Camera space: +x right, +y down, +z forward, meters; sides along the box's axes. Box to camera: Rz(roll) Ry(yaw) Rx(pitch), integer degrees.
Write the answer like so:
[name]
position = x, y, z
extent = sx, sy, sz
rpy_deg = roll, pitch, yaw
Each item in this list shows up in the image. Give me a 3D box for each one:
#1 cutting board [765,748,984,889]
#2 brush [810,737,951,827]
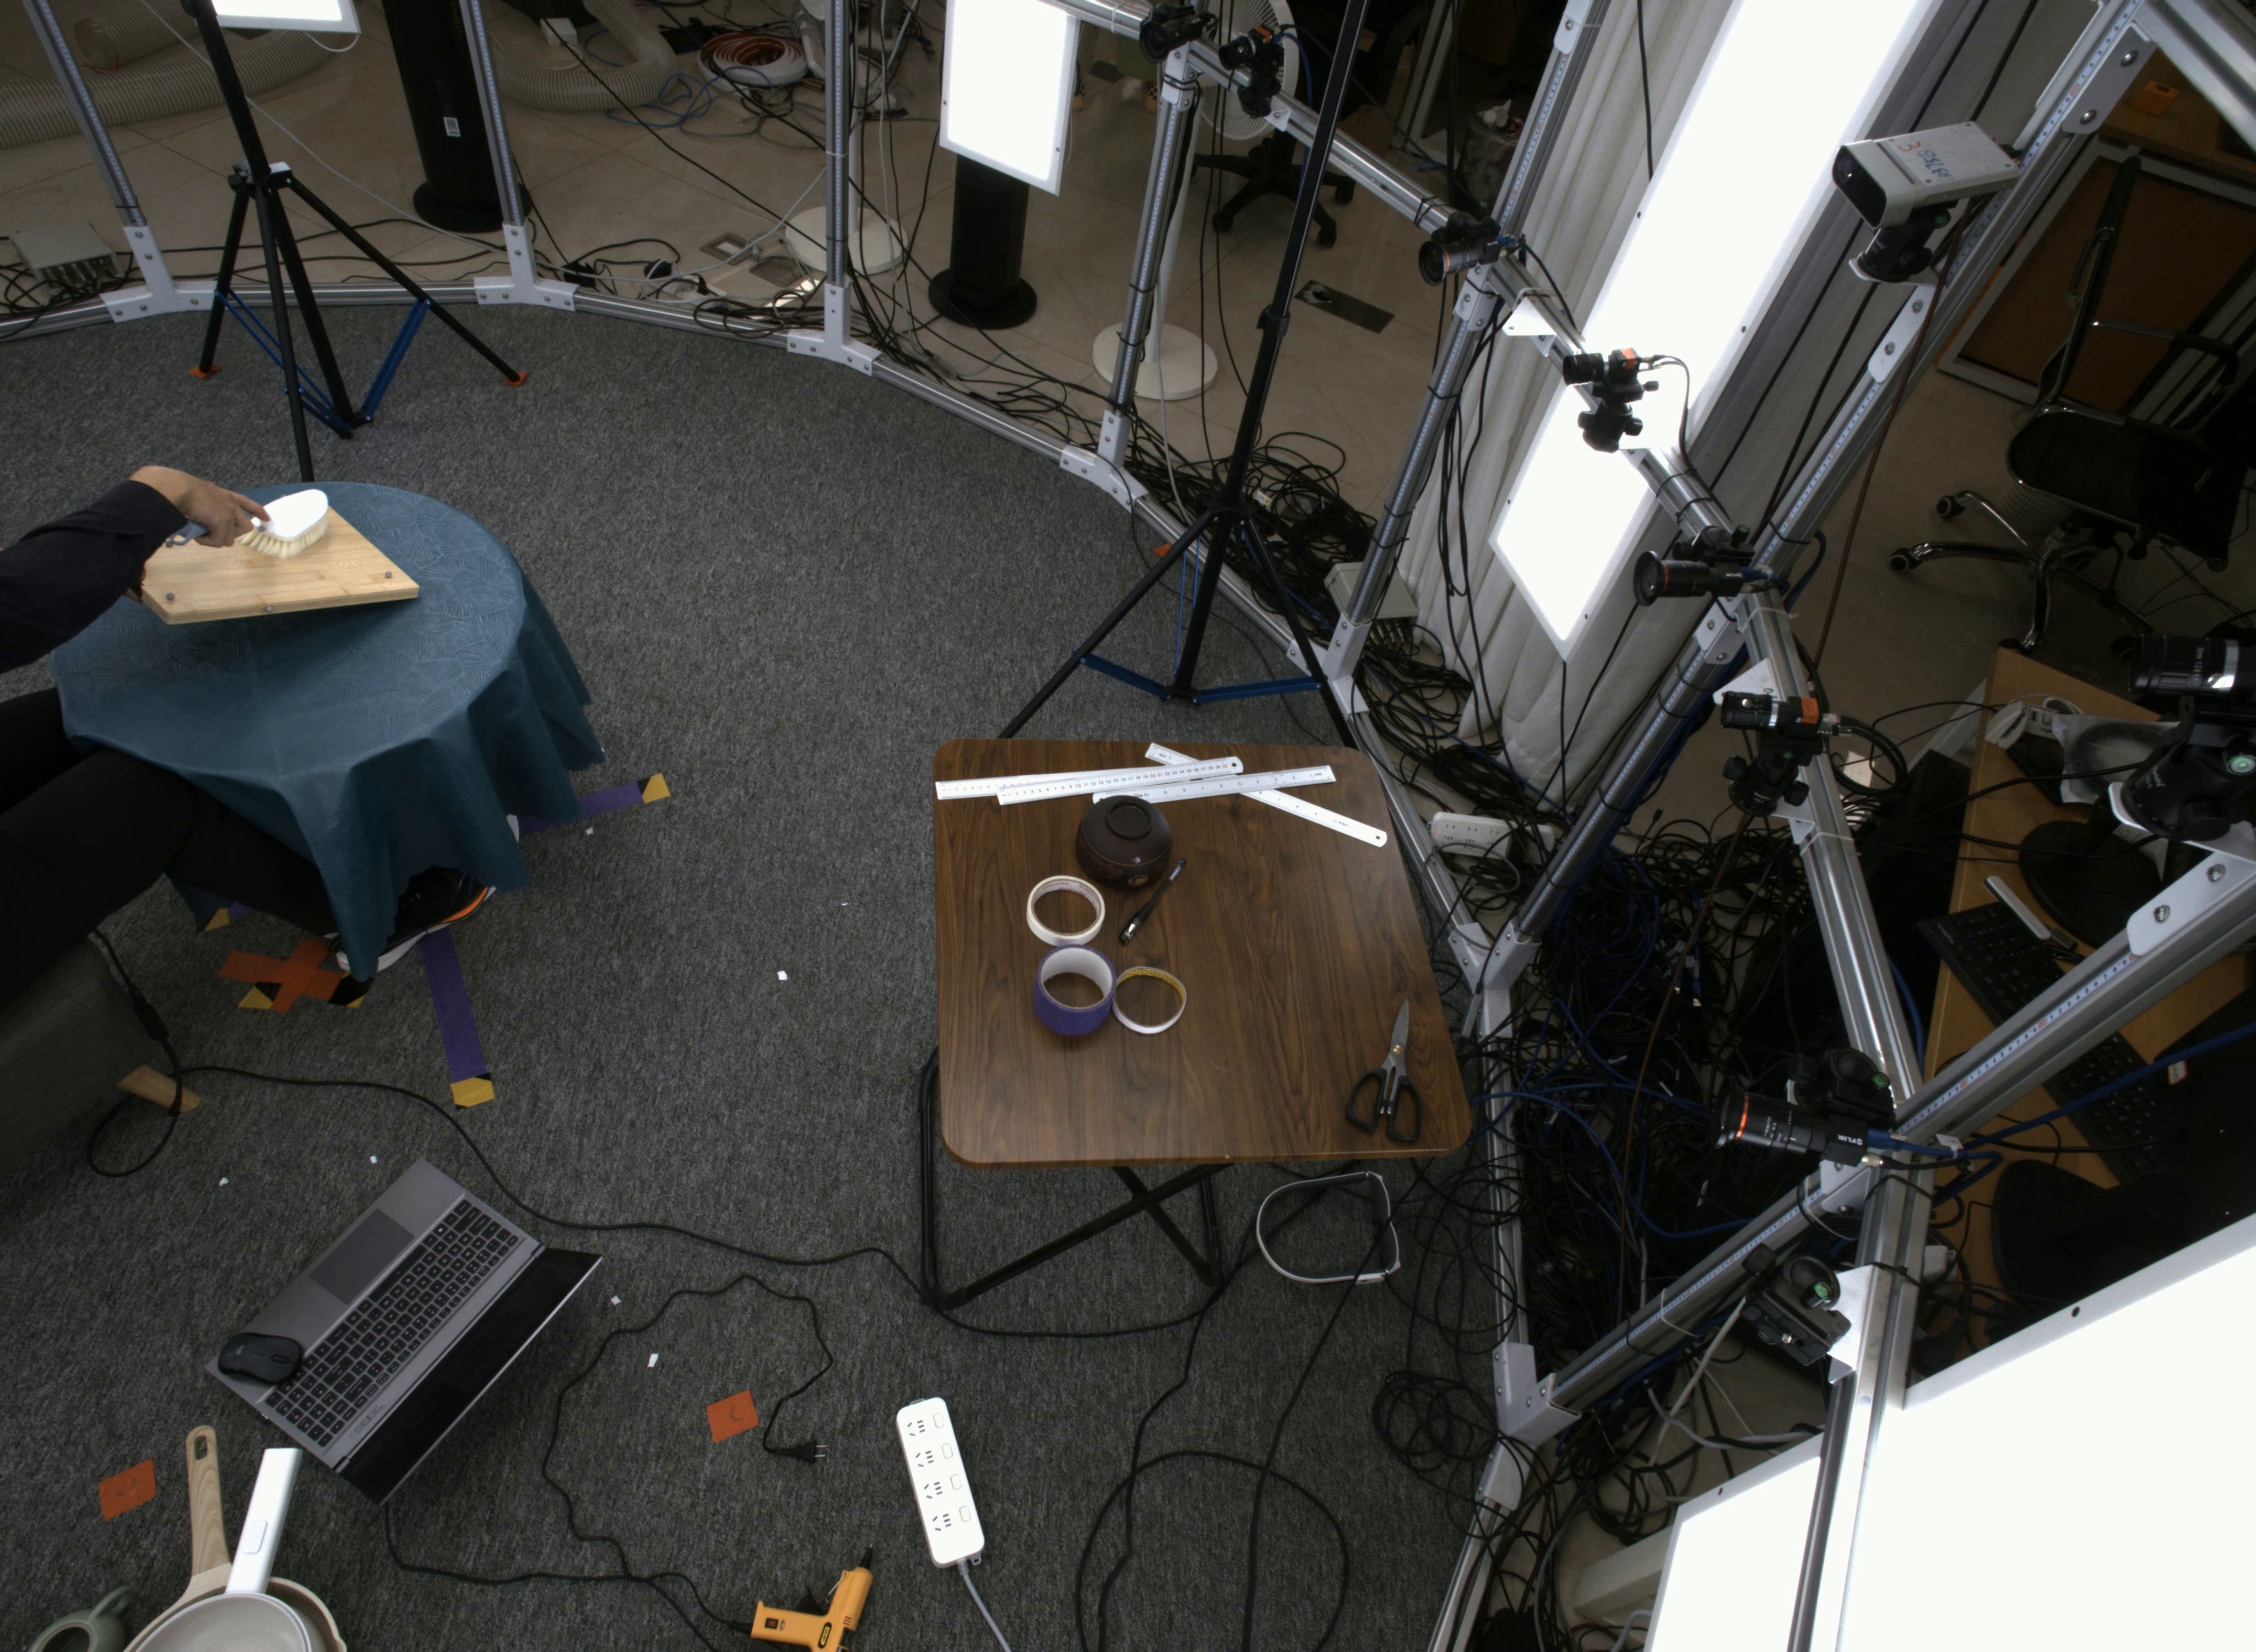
[cutting board]
position = -0.403, -0.013, 2.071
extent = 0.357, 0.024, 0.242
rpy_deg = 23, 14, -31
[brush]
position = -0.399, -0.056, 2.038
extent = 0.081, 0.084, 0.335
rpy_deg = -6, -15, 28
